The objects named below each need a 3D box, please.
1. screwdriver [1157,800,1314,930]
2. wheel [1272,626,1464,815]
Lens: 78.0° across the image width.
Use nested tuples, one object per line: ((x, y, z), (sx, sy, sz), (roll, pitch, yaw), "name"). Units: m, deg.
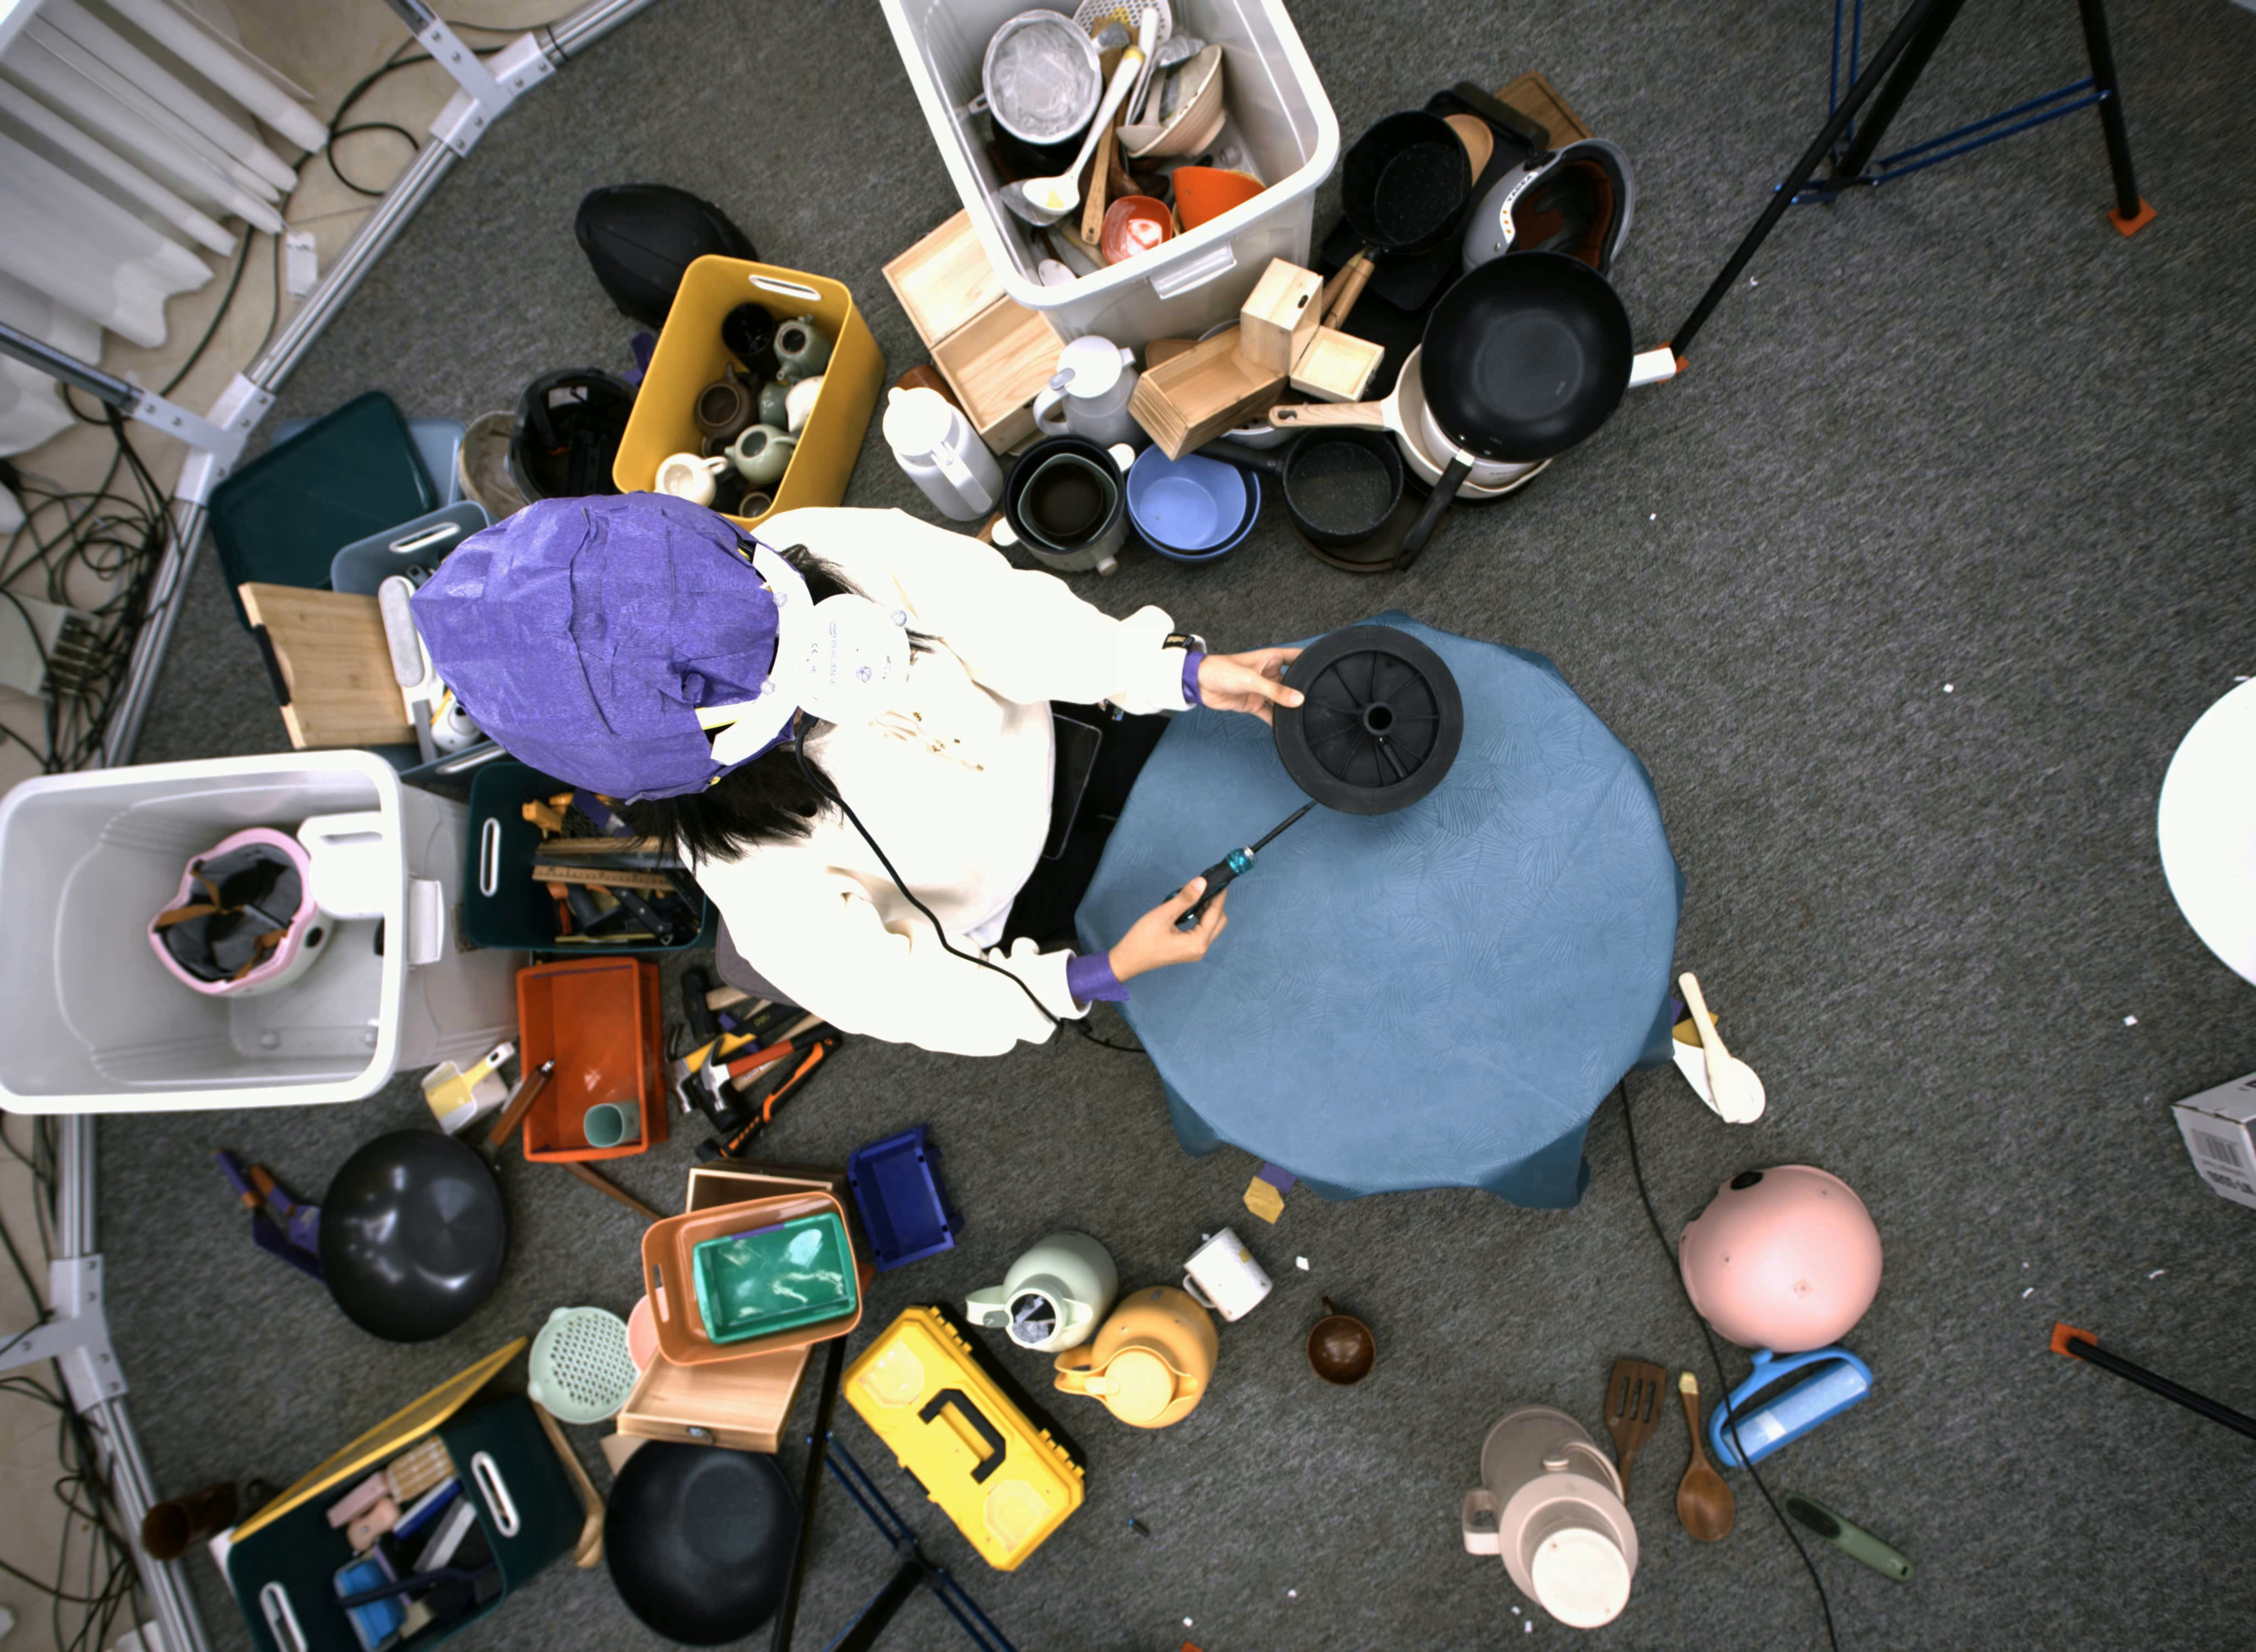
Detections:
((0.107, 0.035, 1.356), (0.192, 0.033, 0.033), (-40, 80, 12), "screwdriver")
((0.239, -0.103, 1.337), (0.190, 0.078, 0.188), (33, 94, -6), "wheel")
